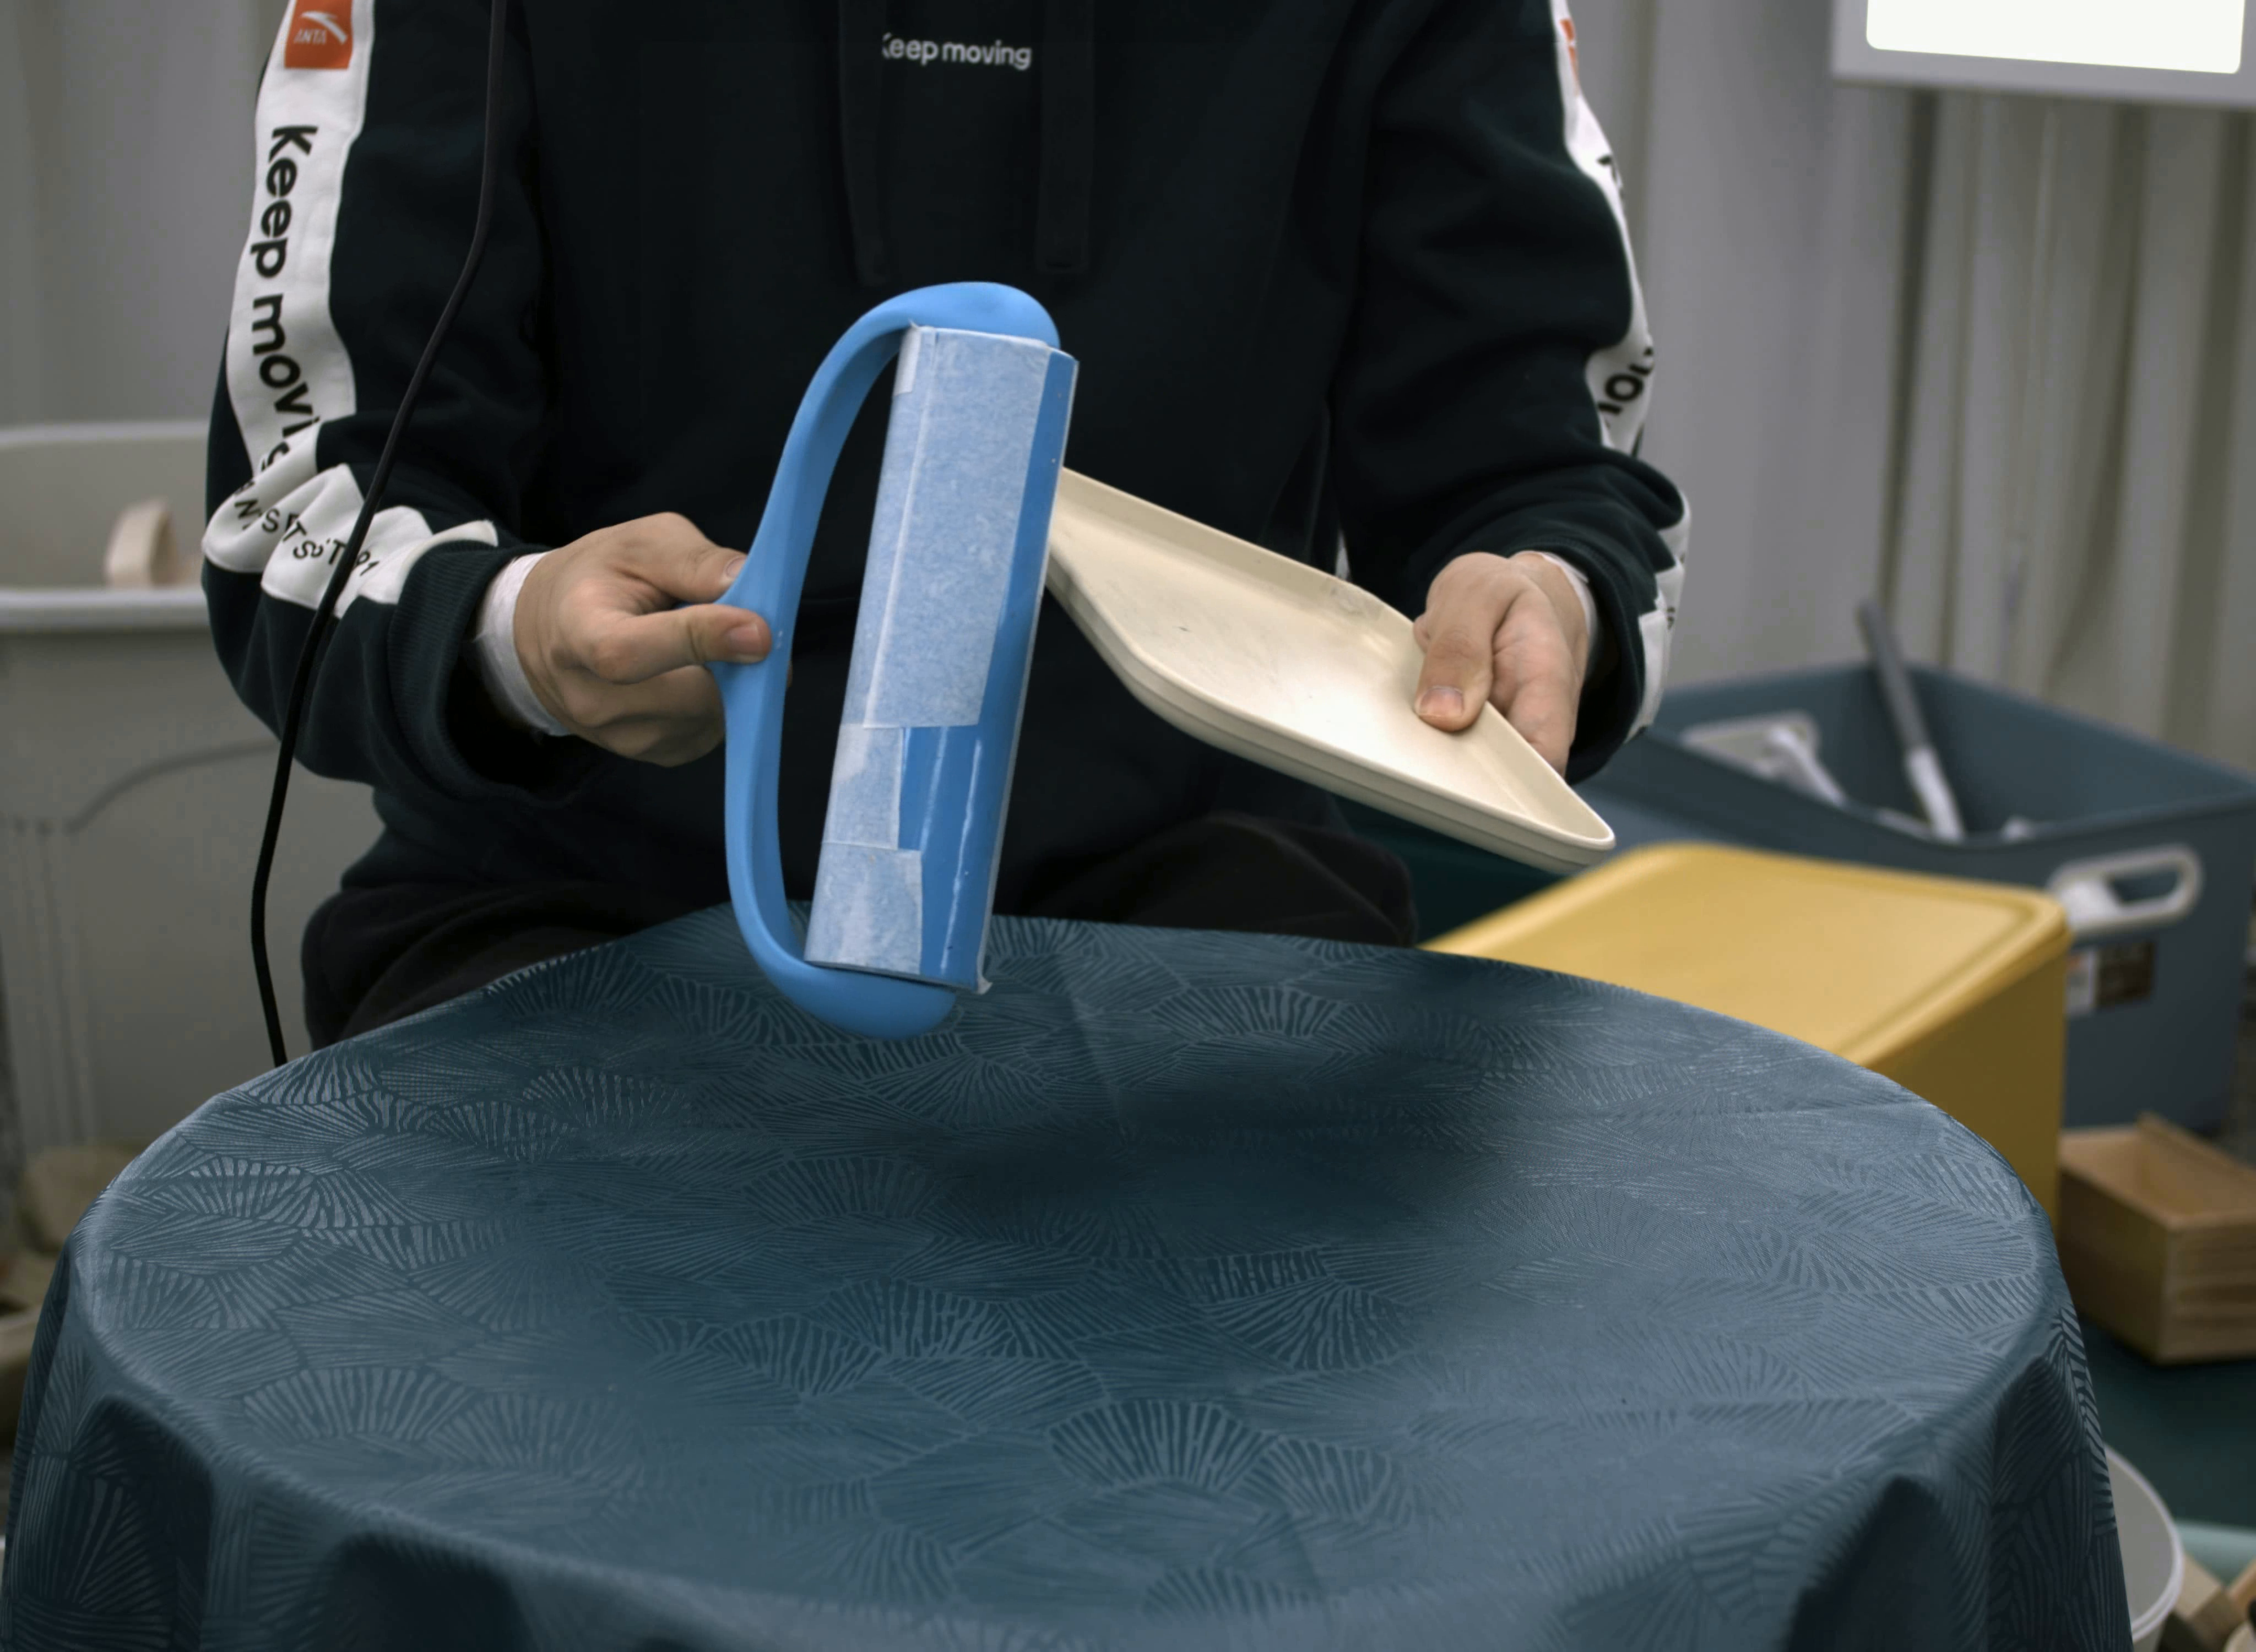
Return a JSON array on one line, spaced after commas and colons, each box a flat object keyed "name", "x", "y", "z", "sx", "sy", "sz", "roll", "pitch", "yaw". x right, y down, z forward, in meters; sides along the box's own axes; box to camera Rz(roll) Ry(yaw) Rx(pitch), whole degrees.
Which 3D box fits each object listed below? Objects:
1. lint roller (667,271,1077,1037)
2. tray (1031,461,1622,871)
[{"name": "lint roller", "x": -0.097, "y": -0.052, "z": 1.602, "sx": 0.178, "sy": 0.229, "sz": 0.068, "roll": 1, "pitch": -6, "yaw": 44}, {"name": "tray", "x": 0.047, "y": -0.053, "z": 1.637, "sx": 0.172, "sy": 0.017, "sz": 0.237, "roll": 20, "pitch": 15, "yaw": -24}]
